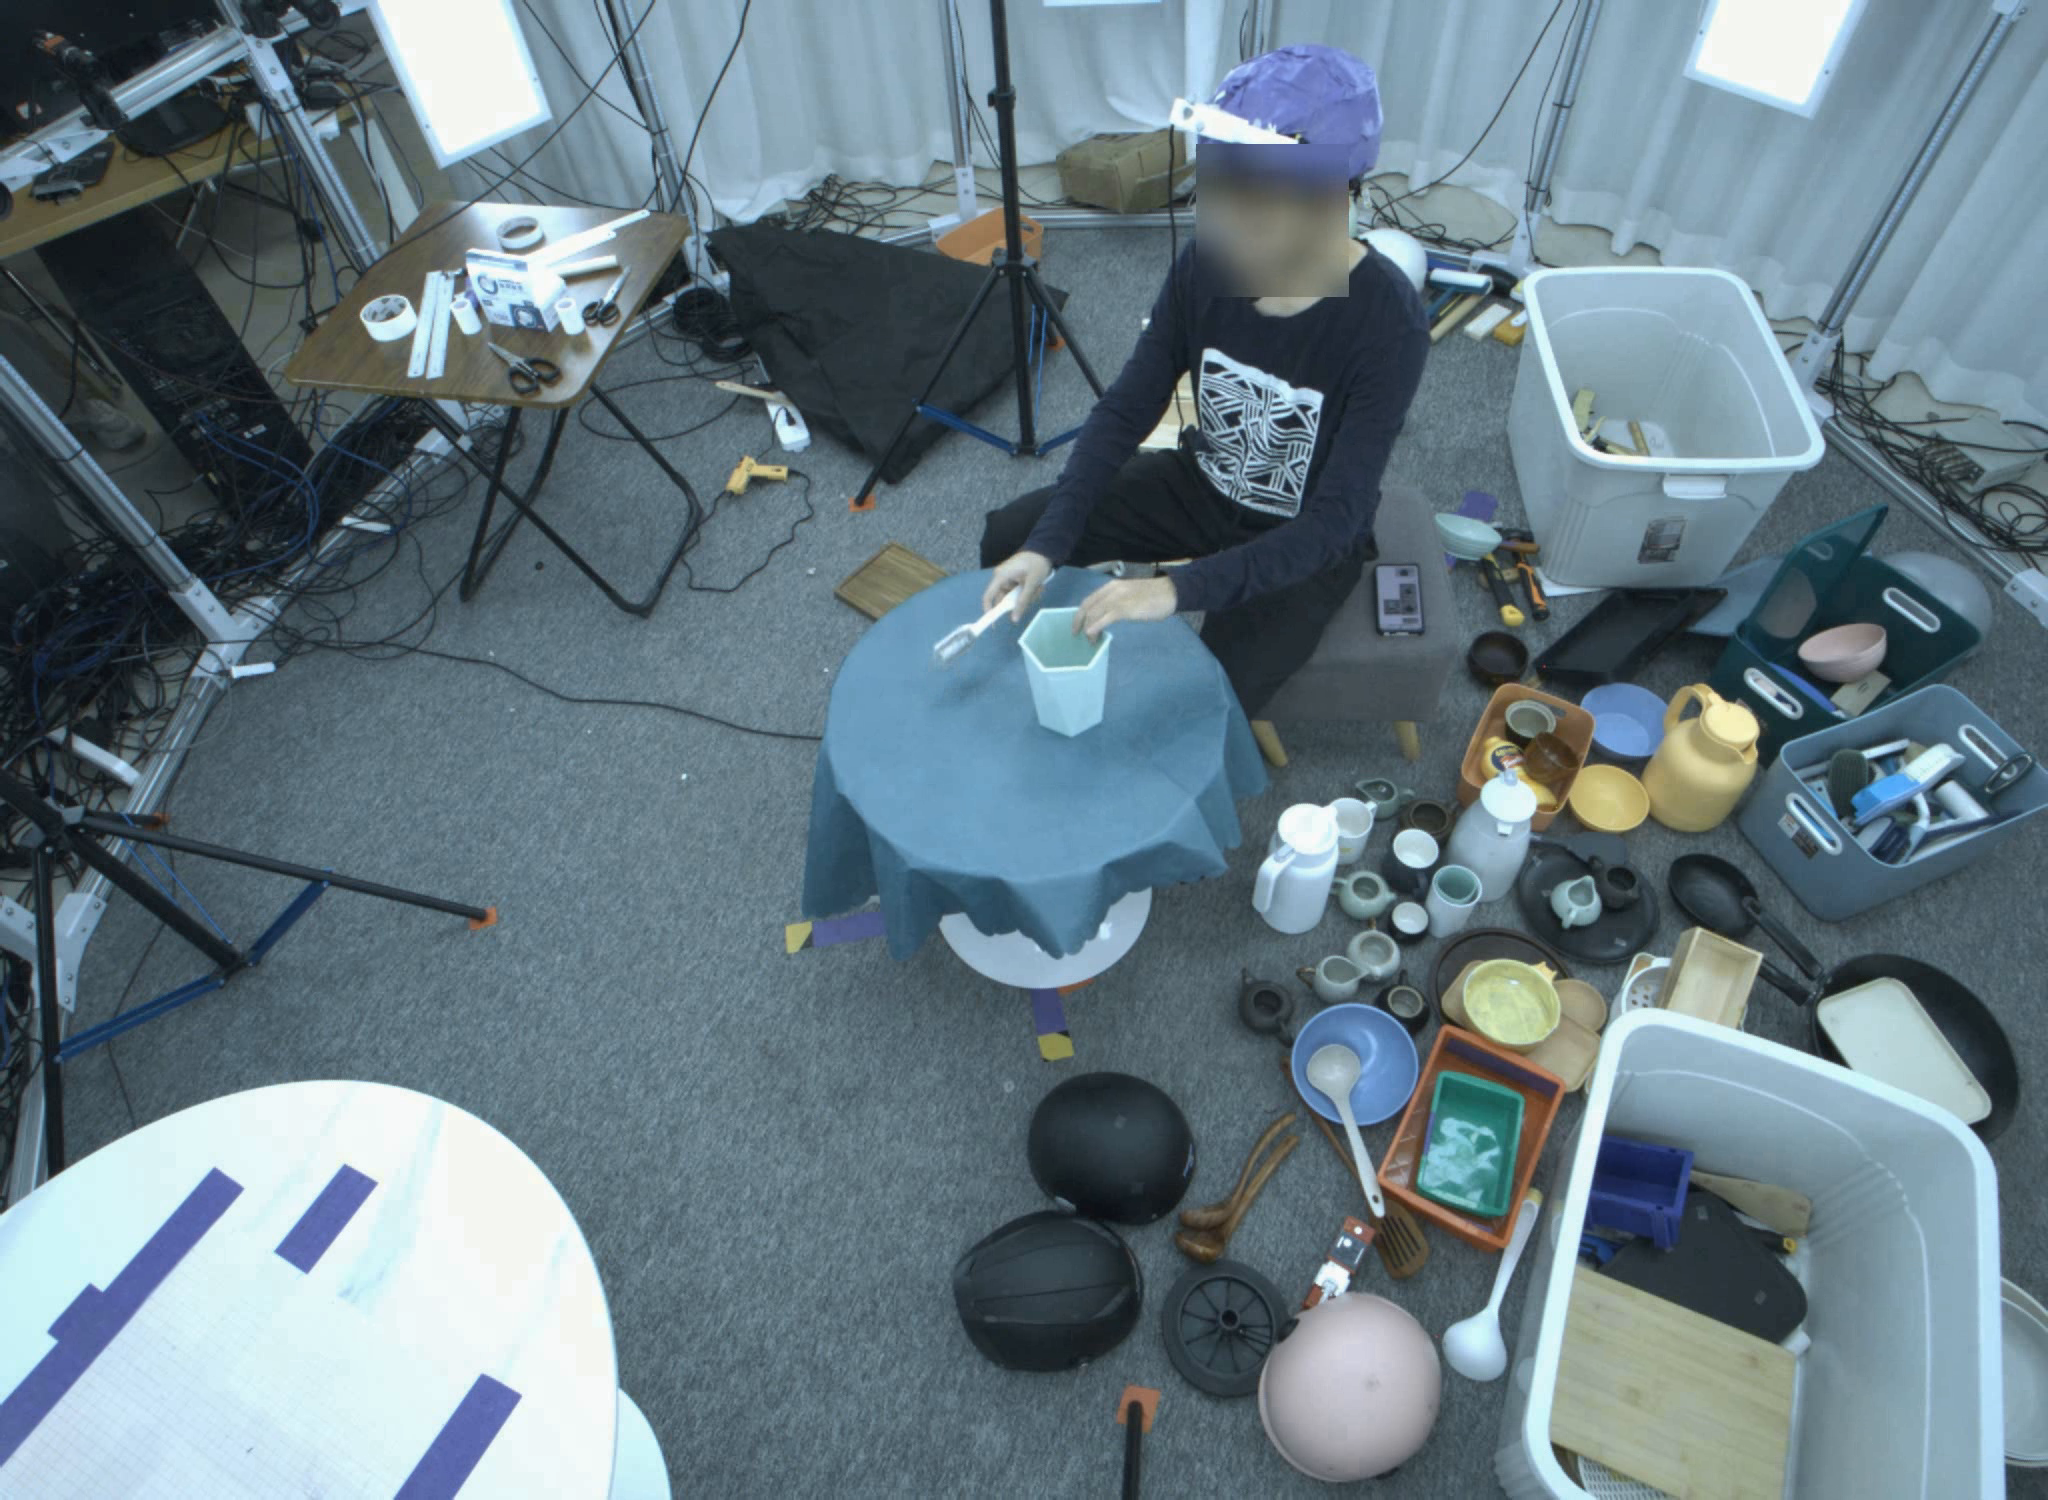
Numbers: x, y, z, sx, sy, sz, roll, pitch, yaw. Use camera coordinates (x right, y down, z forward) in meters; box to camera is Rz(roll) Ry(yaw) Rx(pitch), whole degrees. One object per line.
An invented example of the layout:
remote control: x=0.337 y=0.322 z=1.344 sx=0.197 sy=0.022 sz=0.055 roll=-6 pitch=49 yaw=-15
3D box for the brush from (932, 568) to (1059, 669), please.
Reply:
brush: x=-0.038 y=-0.201 z=1.834 sx=0.245 sy=0.050 sz=0.034 roll=-38 pitch=94 yaw=-14

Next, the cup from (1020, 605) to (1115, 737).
cup: x=0.064 y=-0.107 z=1.753 sx=0.131 sy=0.165 sz=0.114 roll=-4 pitch=53 yaw=0
